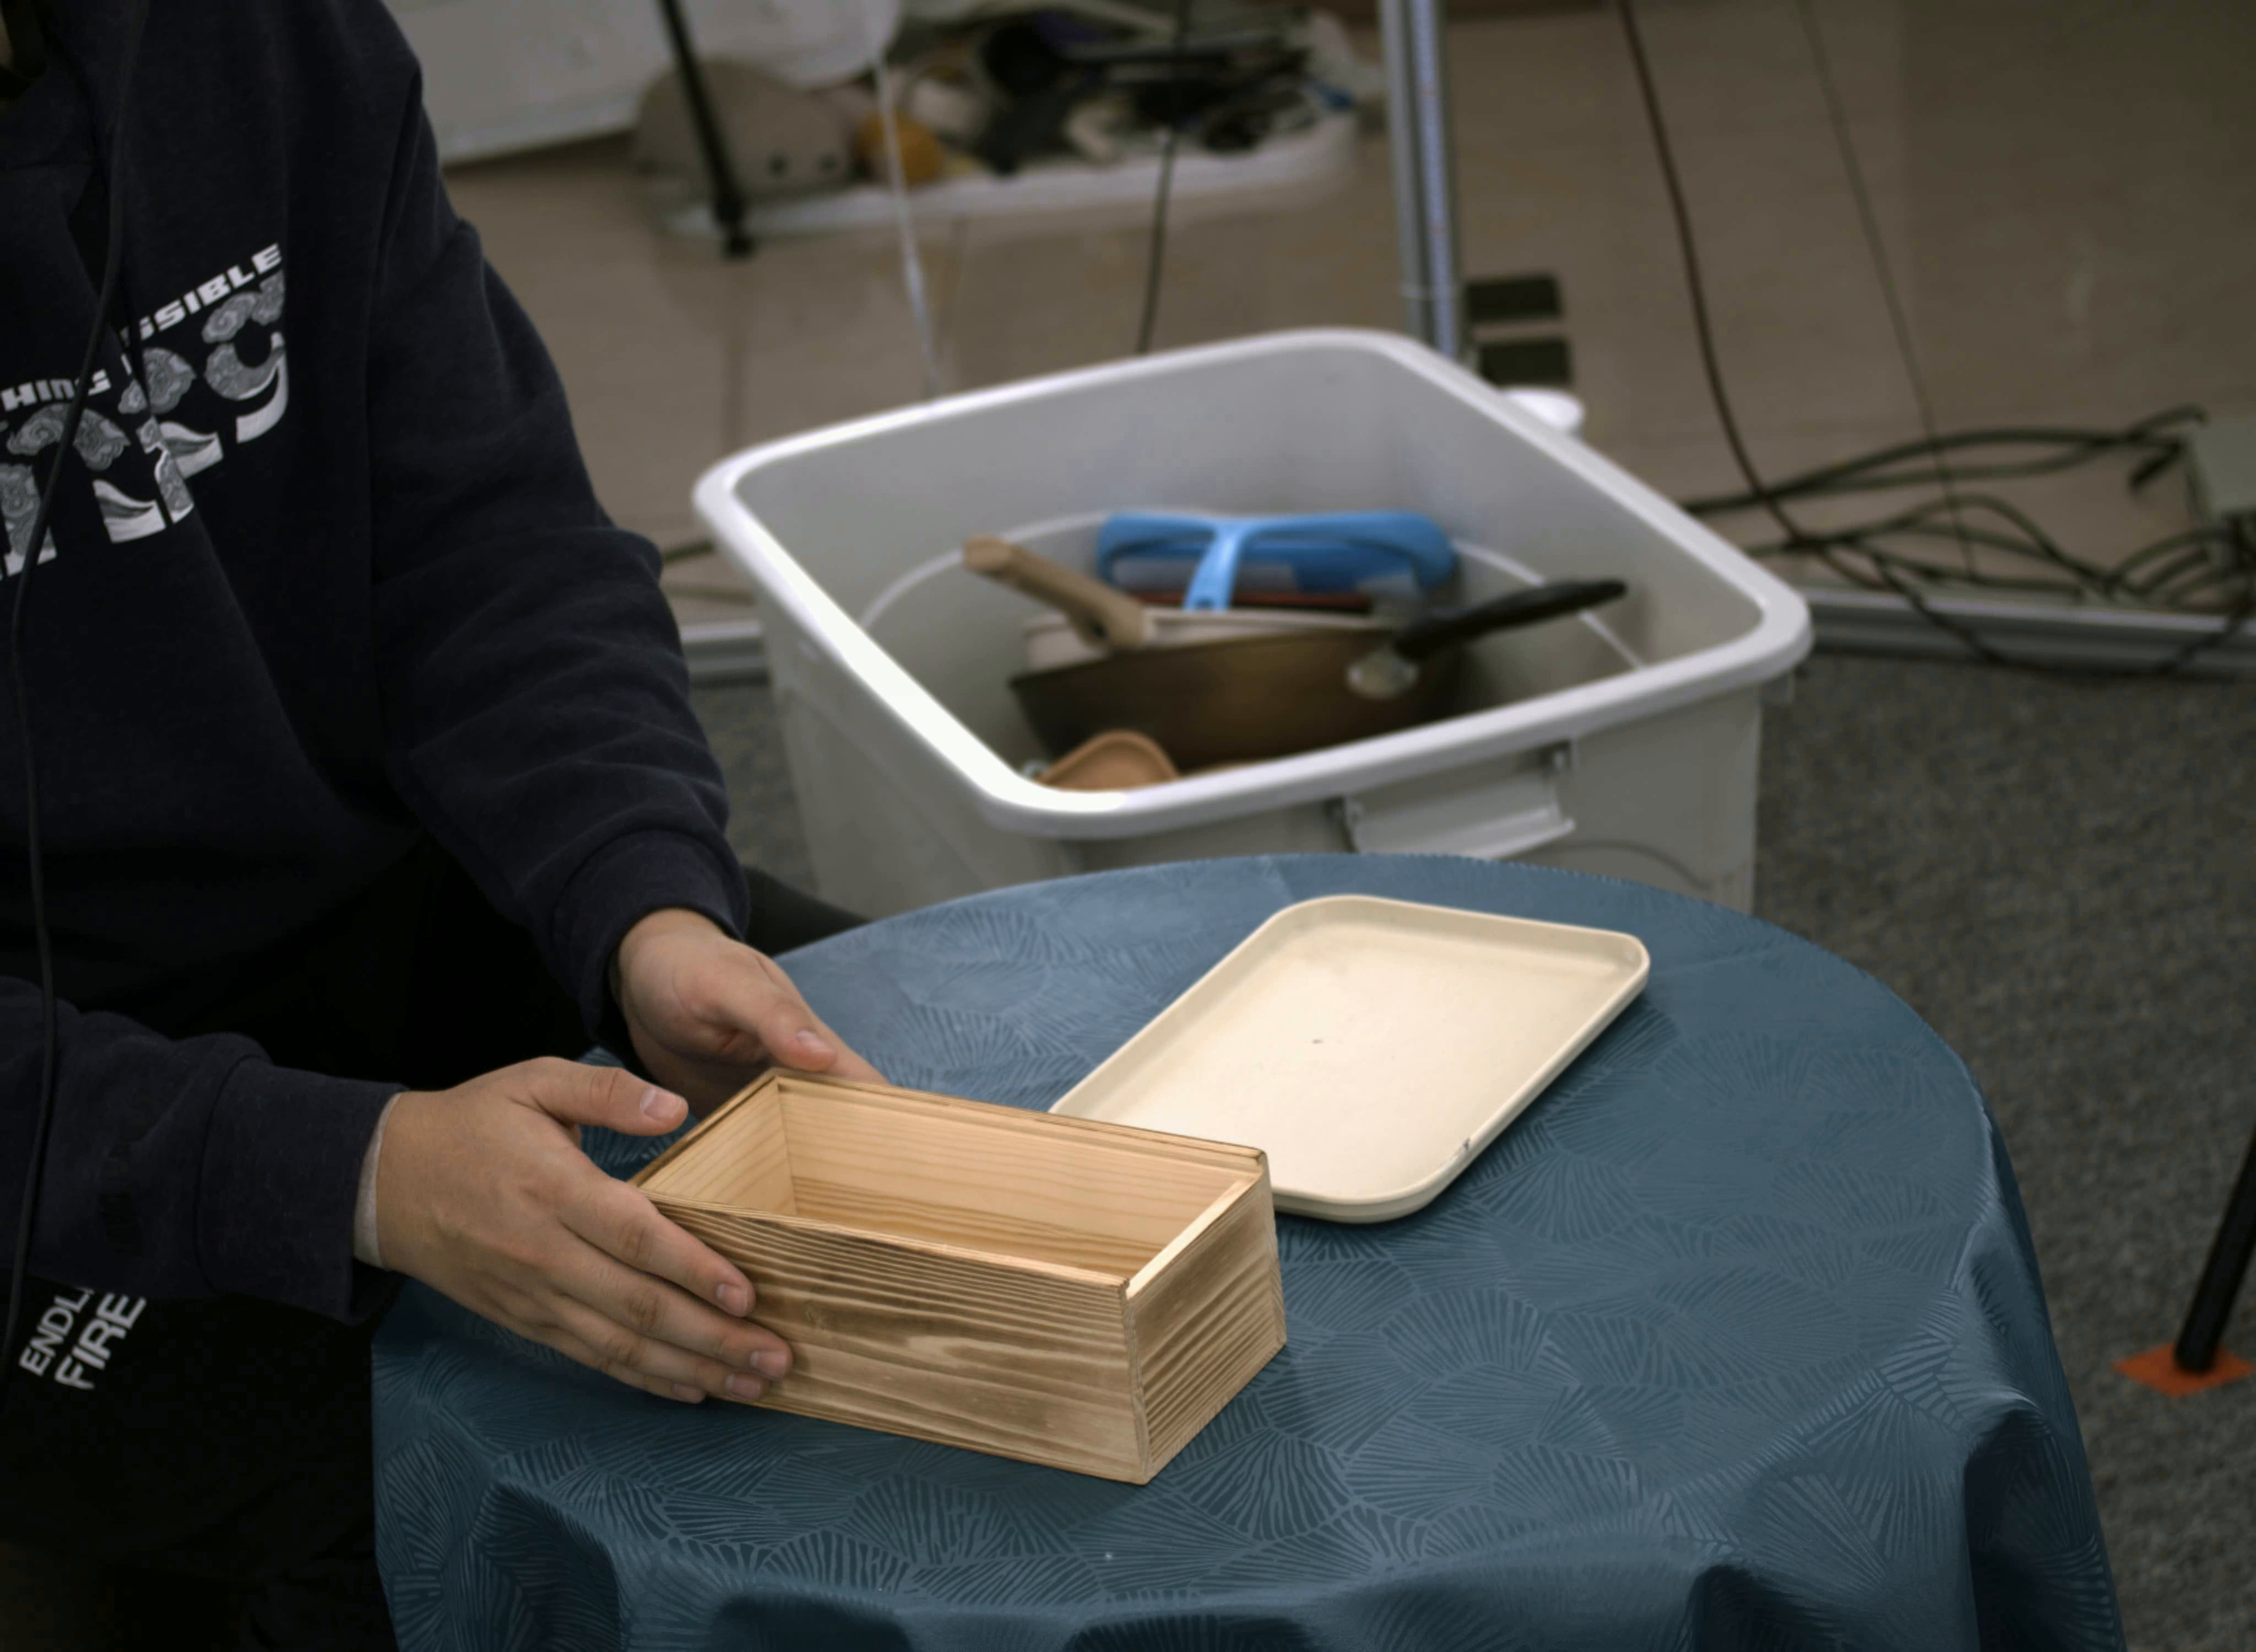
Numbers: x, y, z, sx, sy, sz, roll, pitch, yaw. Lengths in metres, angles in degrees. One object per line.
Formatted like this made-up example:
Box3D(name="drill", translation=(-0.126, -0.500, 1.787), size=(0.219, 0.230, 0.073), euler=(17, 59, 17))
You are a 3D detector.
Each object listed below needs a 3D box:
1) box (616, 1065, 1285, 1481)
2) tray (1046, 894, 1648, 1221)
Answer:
Box3D(name="box", translation=(-0.063, 0.157, 2.027), size=(0.210, 0.081, 0.106), euler=(8, 28, 29))
Box3D(name="tray", translation=(0.087, 0.089, 2.214), size=(0.170, 0.018, 0.237), euler=(8, 28, 30))
